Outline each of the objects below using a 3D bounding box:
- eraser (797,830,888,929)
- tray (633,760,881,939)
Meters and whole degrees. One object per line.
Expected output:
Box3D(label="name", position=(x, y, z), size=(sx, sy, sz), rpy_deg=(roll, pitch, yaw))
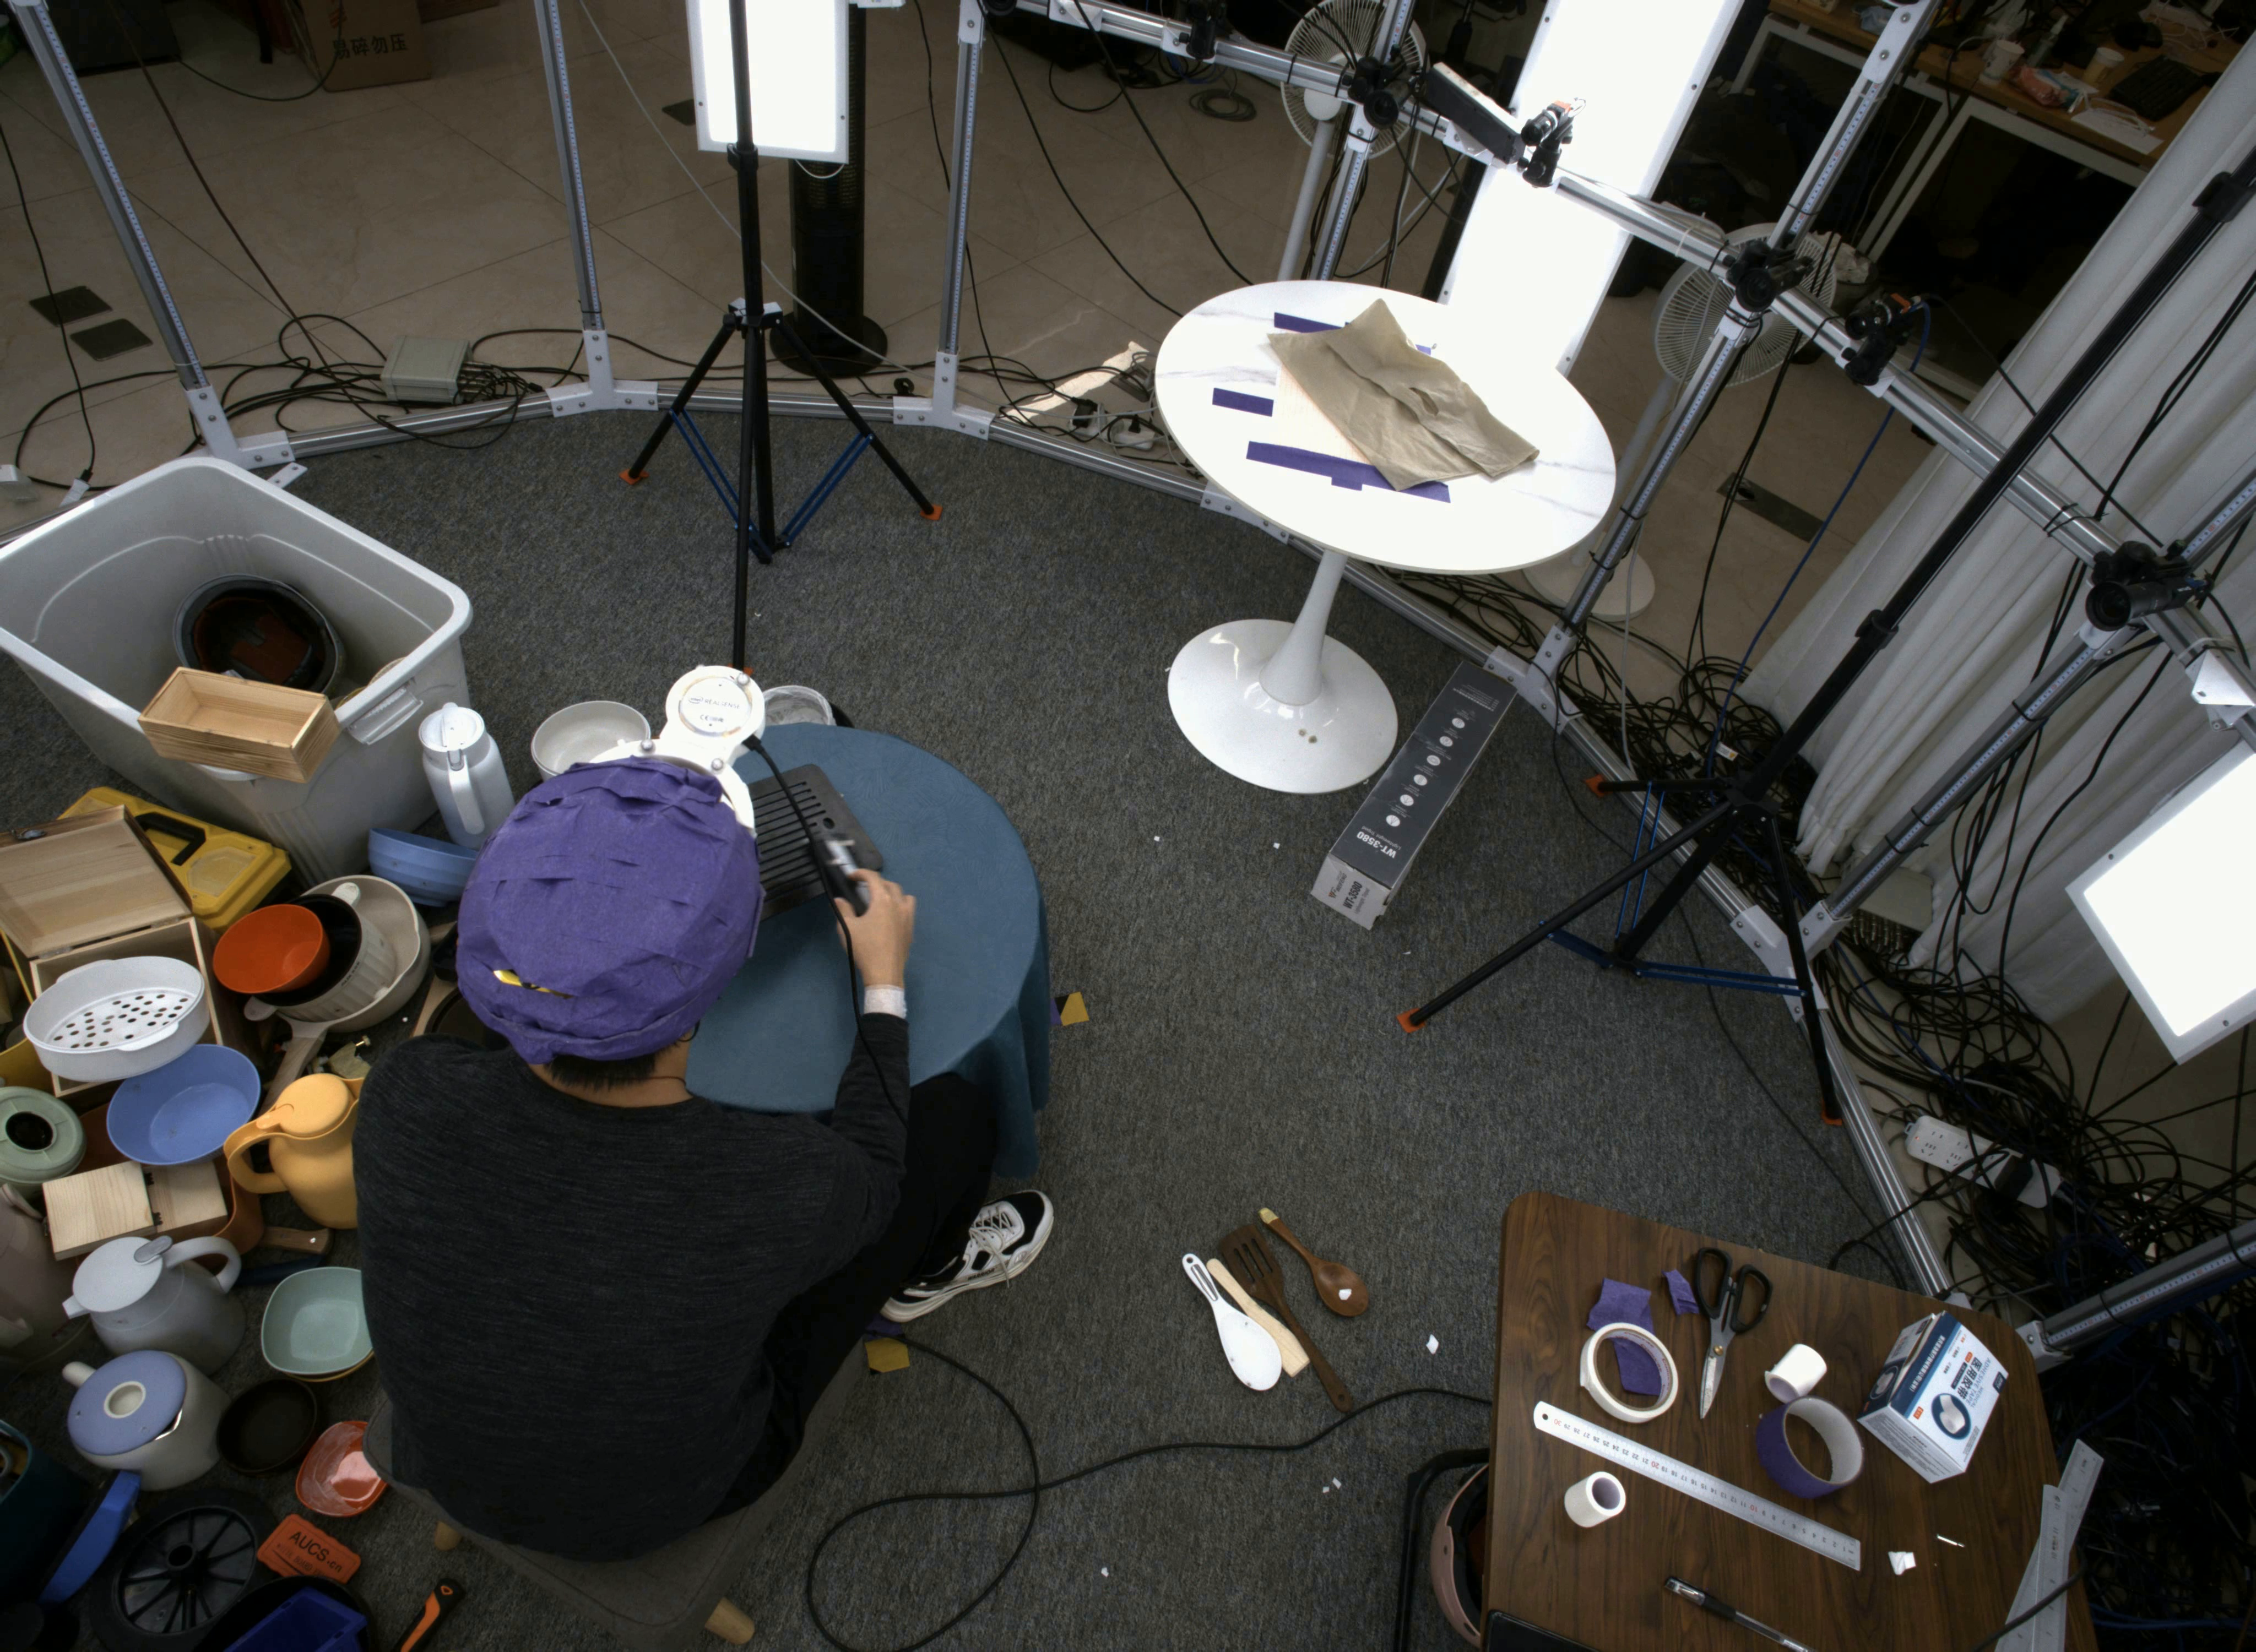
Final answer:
Box3D(label="eraser", position=(-0.345, 0.063, 1.562), size=(0.054, 0.030, 0.123), rpy_deg=(-18, 65, -51))
Box3D(label="tray", position=(-0.448, 0.022, 1.585), size=(0.170, 0.018, 0.308), rpy_deg=(55, 34, 4))
